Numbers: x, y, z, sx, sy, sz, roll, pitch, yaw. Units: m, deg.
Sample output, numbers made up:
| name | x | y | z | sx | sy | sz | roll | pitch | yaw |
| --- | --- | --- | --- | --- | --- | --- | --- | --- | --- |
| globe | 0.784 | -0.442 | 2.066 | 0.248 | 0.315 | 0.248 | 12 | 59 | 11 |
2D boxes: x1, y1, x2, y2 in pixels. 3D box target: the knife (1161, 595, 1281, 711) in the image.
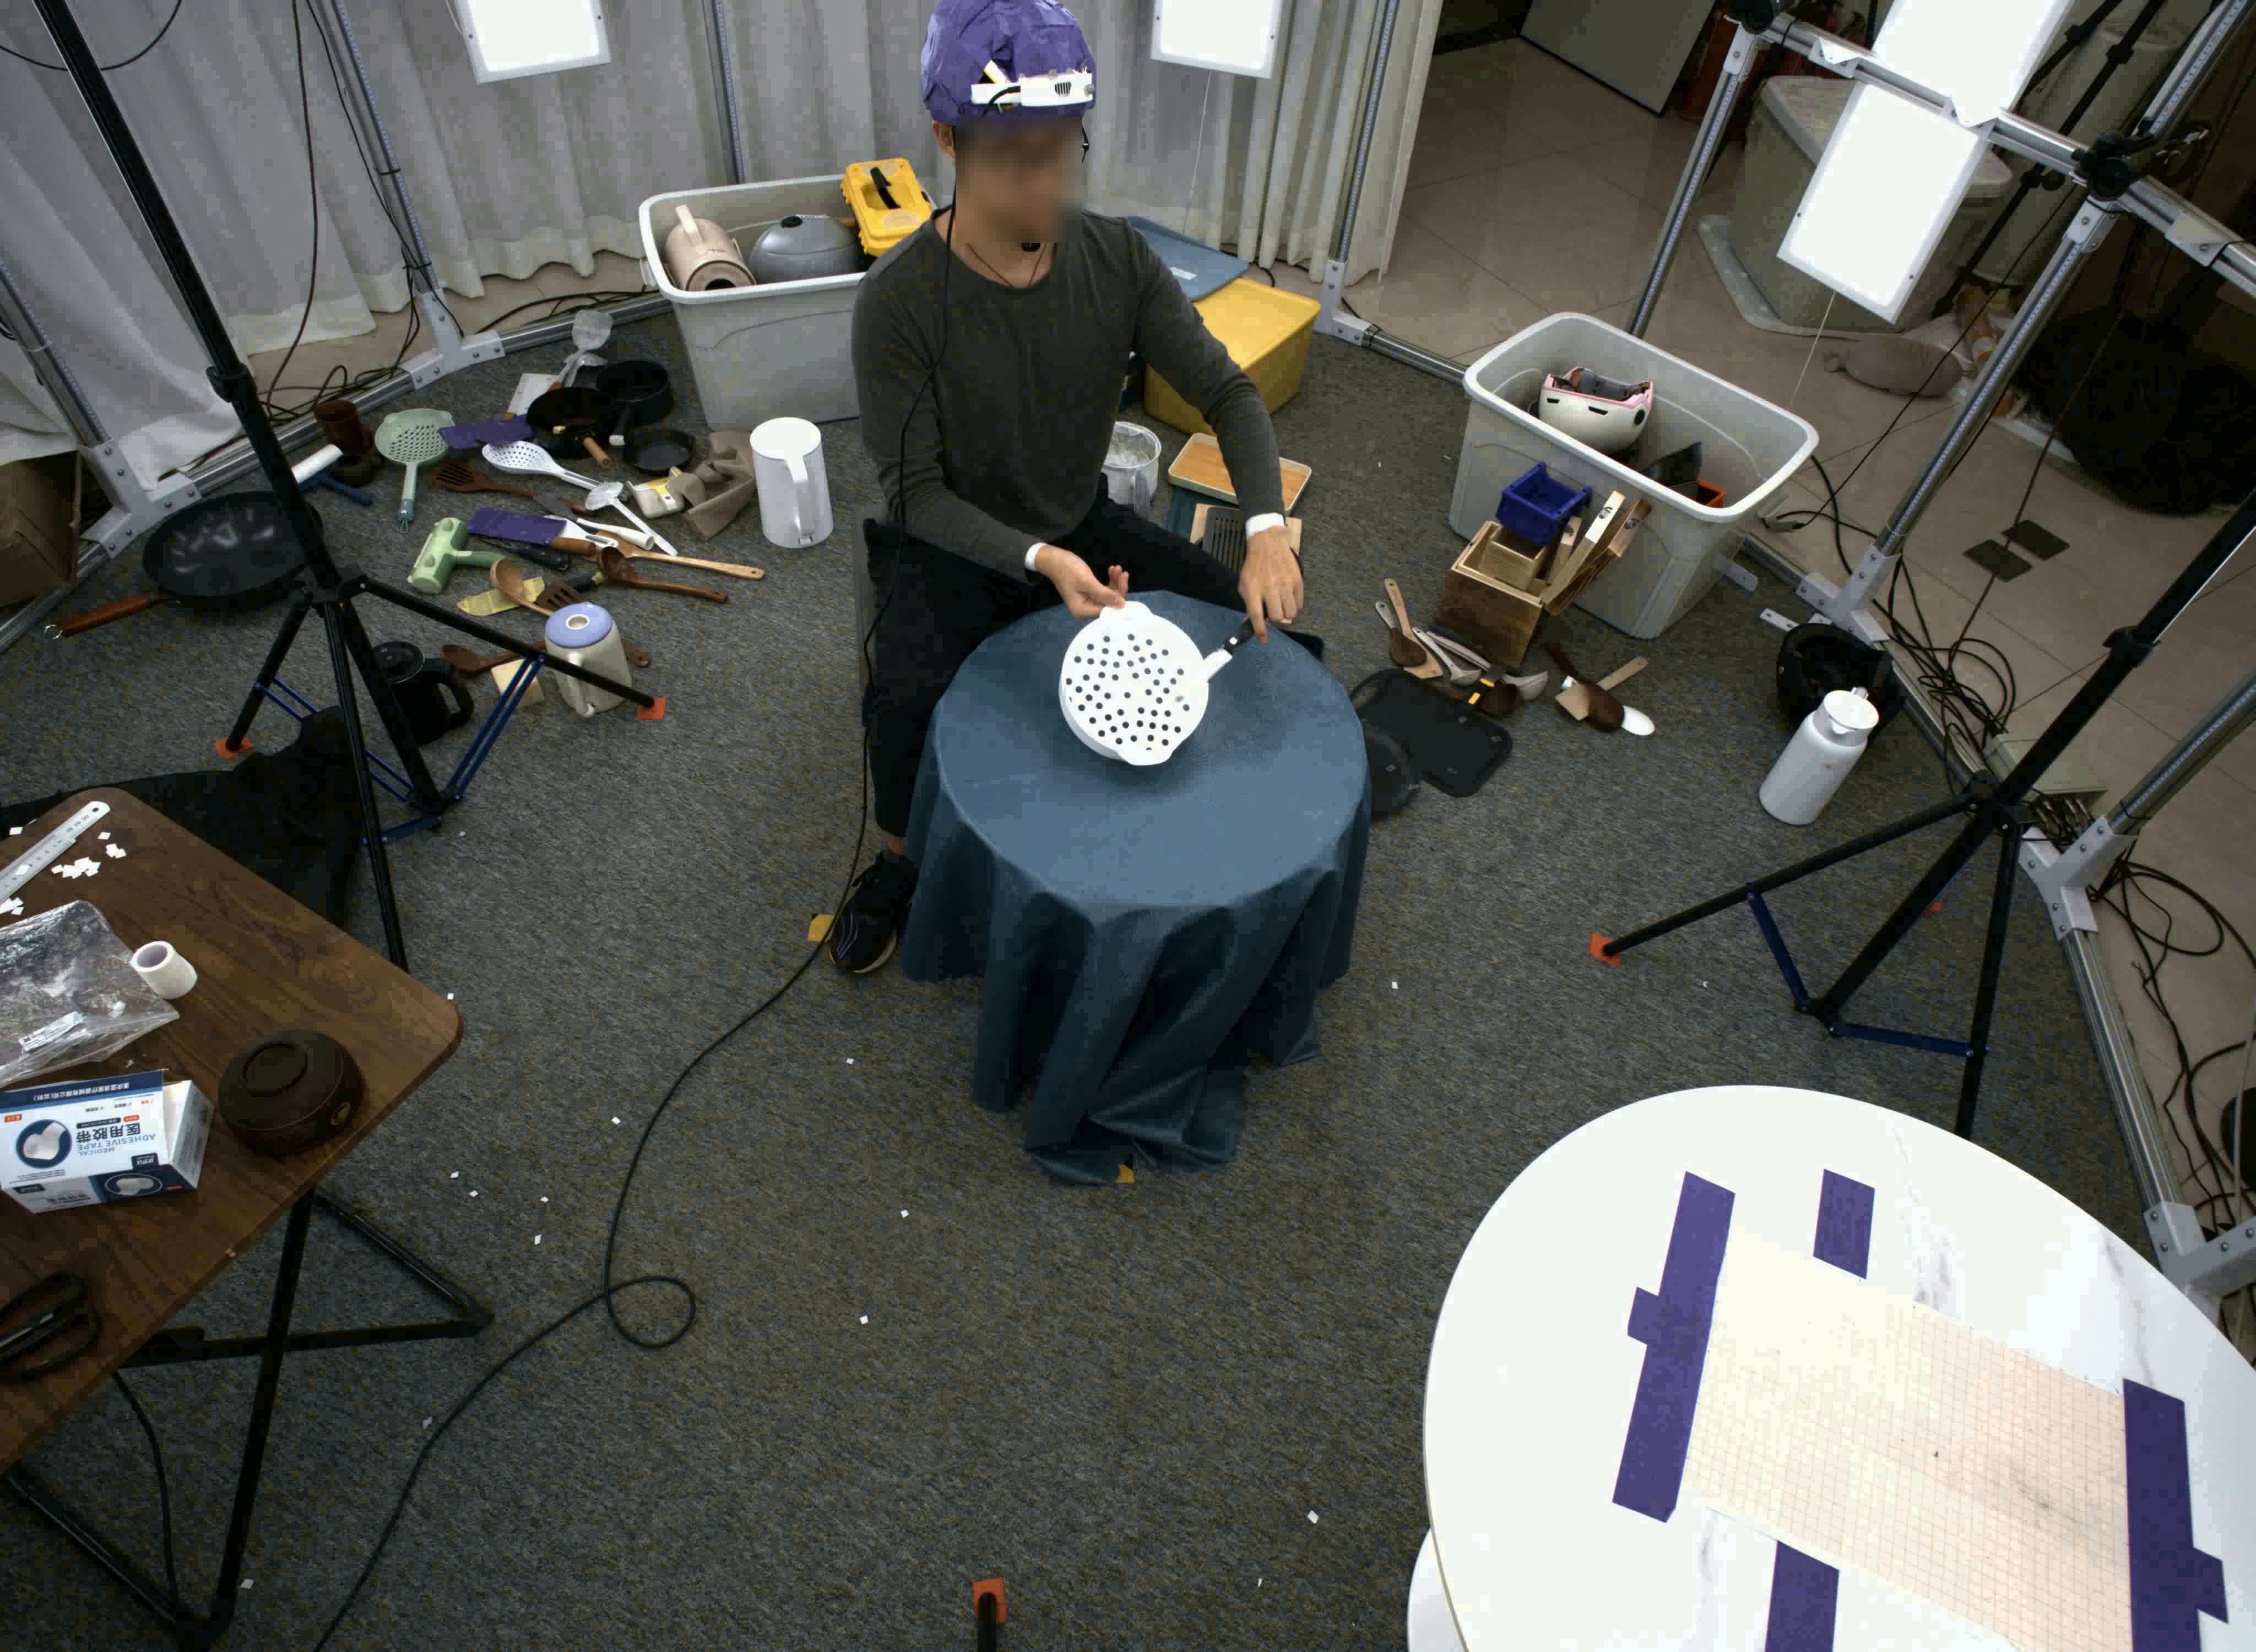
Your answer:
| name | x | y | z | sx | sy | sz | roll | pitch | yaw |
| --- | --- | --- | --- | --- | --- | --- | --- | --- | --- |
| knife | 0.124 | -0.236 | 1.740 | 0.024 | 0.016 | 0.240 | 44 | 73 | 4 |

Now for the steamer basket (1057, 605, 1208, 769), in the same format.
| name | x | y | z | sx | sy | sz | roll | pitch | yaw |
| --- | --- | --- | --- | --- | --- | --- | --- | --- | --- |
| steamer basket | 0.005 | -0.182 | 1.739 | 0.201 | 0.068 | 0.233 | -6 | 76 | -13 |
